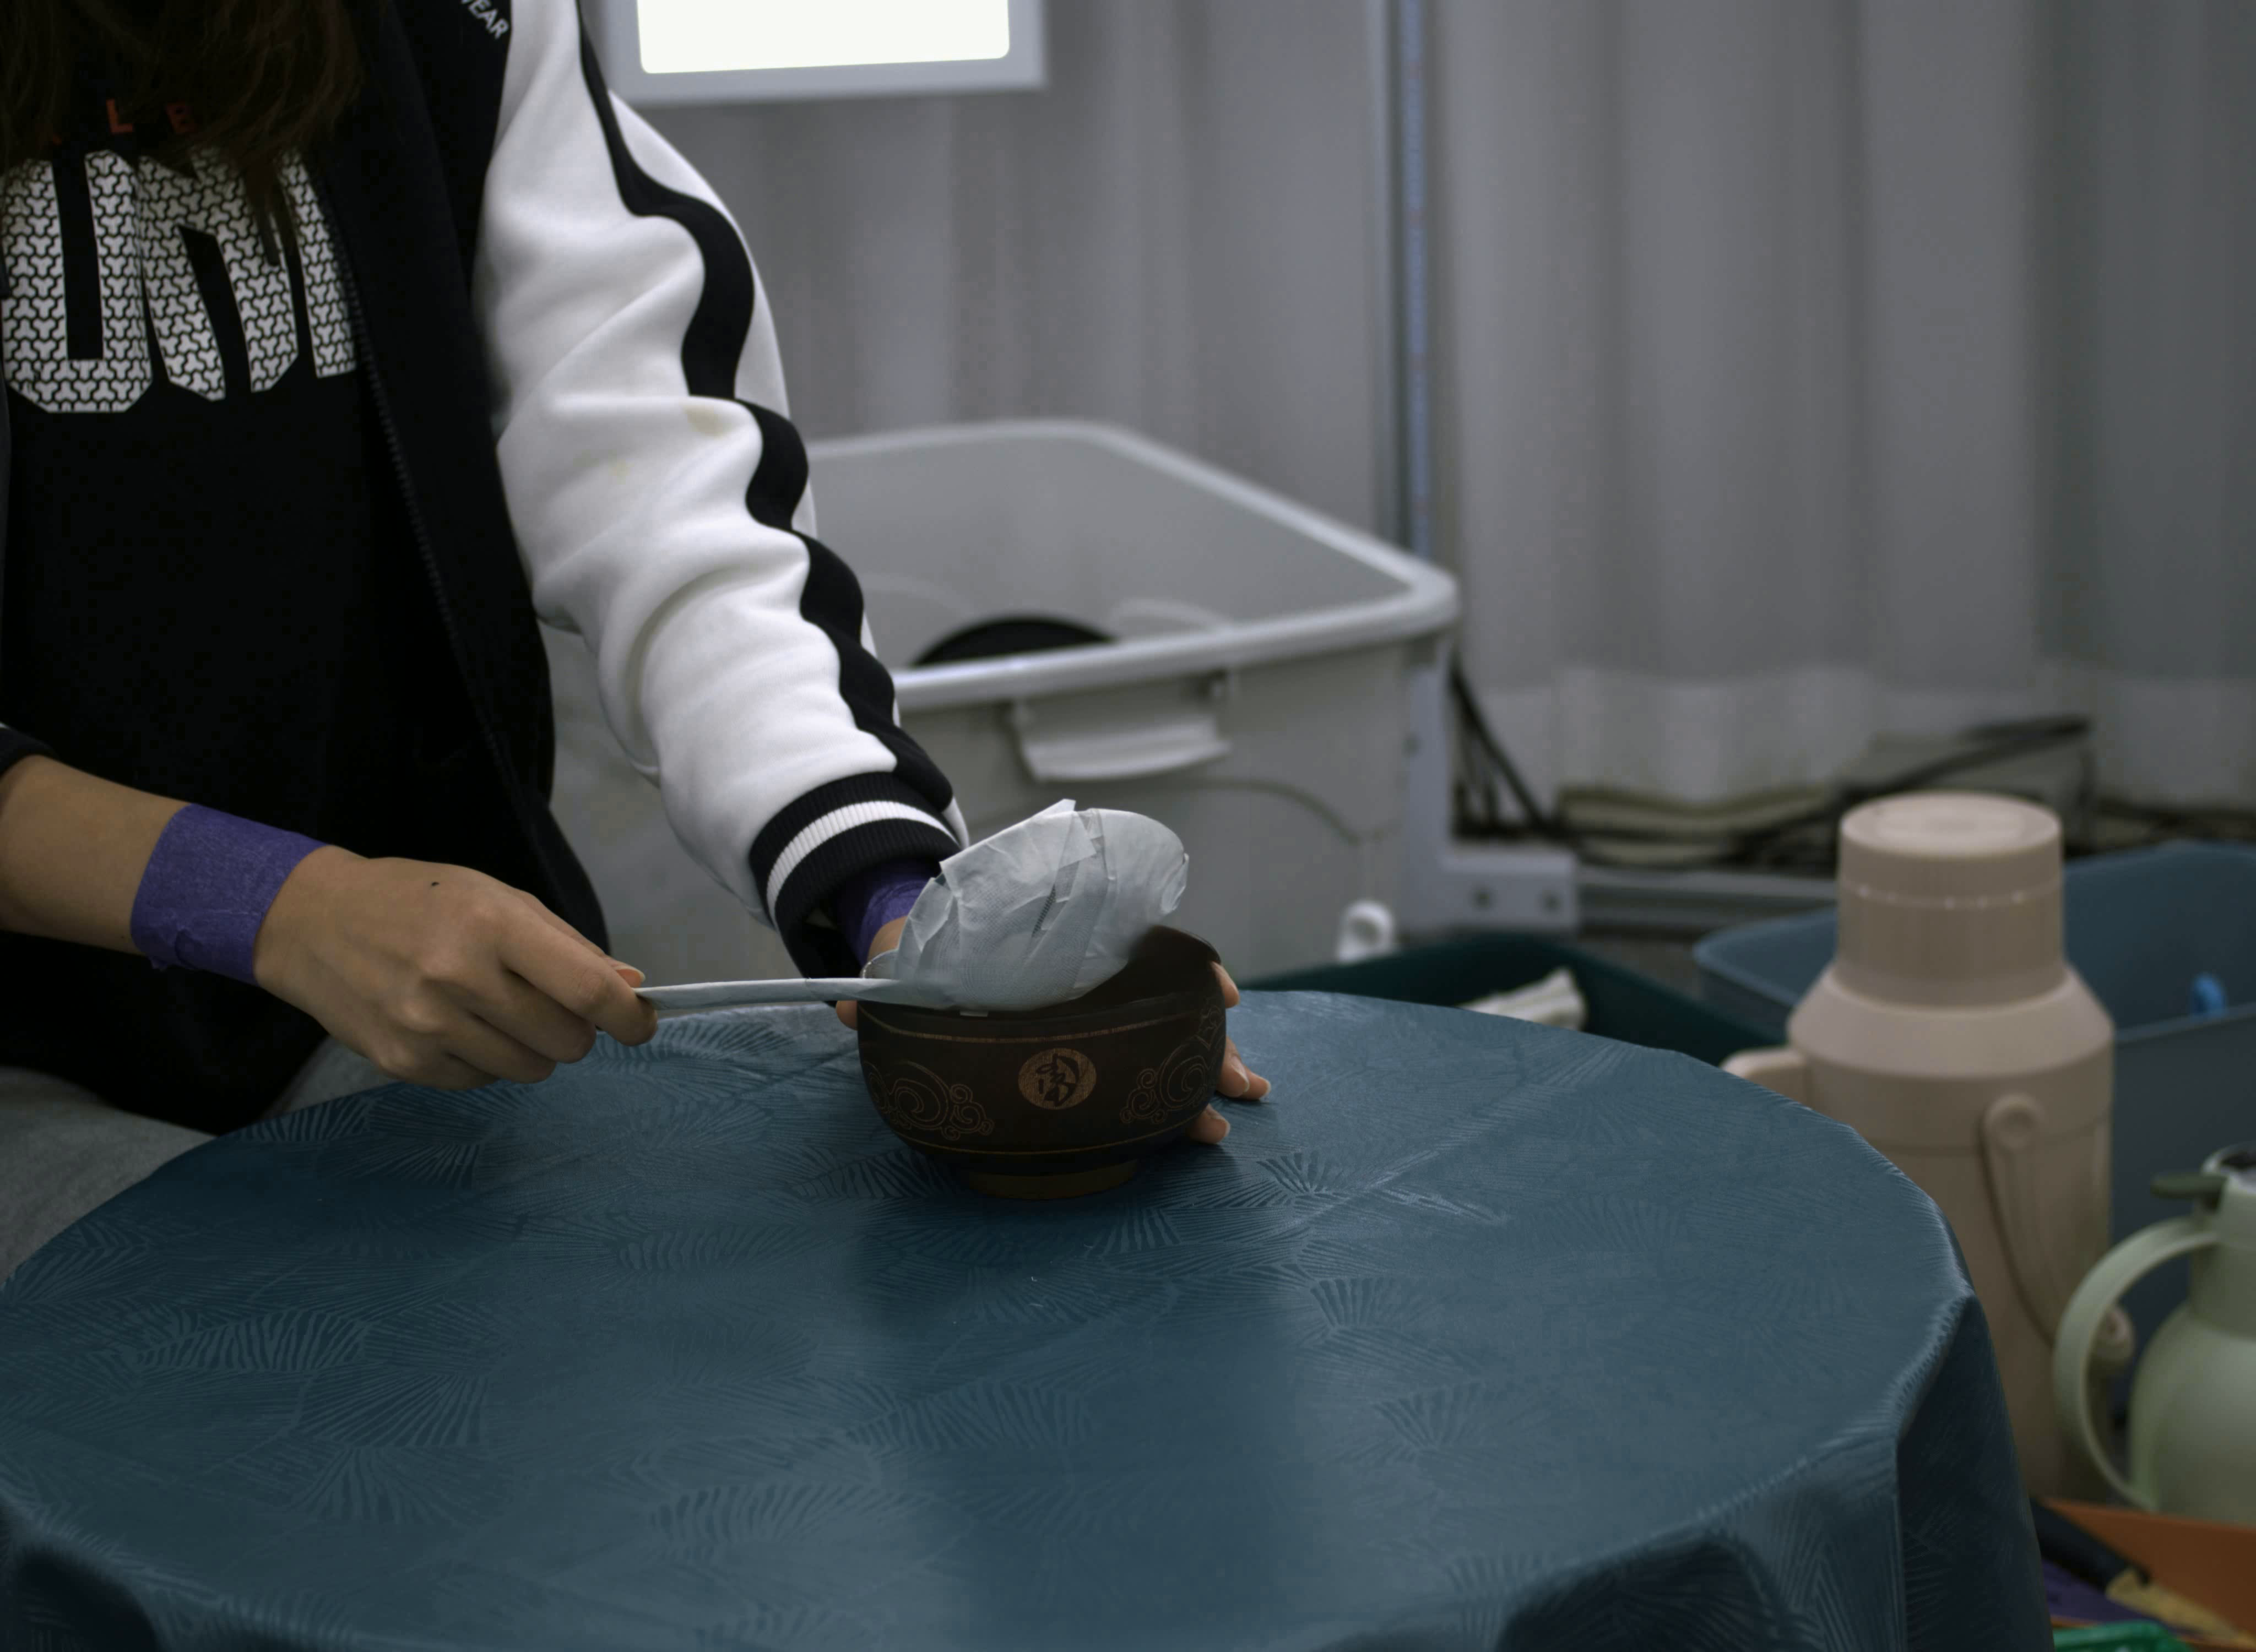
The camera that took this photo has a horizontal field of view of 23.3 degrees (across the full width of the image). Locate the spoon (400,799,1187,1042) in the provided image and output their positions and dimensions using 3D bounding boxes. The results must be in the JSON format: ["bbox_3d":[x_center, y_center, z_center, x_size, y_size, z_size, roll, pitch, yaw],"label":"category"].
[{"bbox_3d":[-0.109,0.035,1.723,0.277,0.060,0.099,-4,-32,31],"label":"spoon"}]

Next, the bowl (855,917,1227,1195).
[{"bbox_3d":[-0.027,0.075,1.728,0.117,0.069,0.119,-2,15,0],"label":"bowl"}]
